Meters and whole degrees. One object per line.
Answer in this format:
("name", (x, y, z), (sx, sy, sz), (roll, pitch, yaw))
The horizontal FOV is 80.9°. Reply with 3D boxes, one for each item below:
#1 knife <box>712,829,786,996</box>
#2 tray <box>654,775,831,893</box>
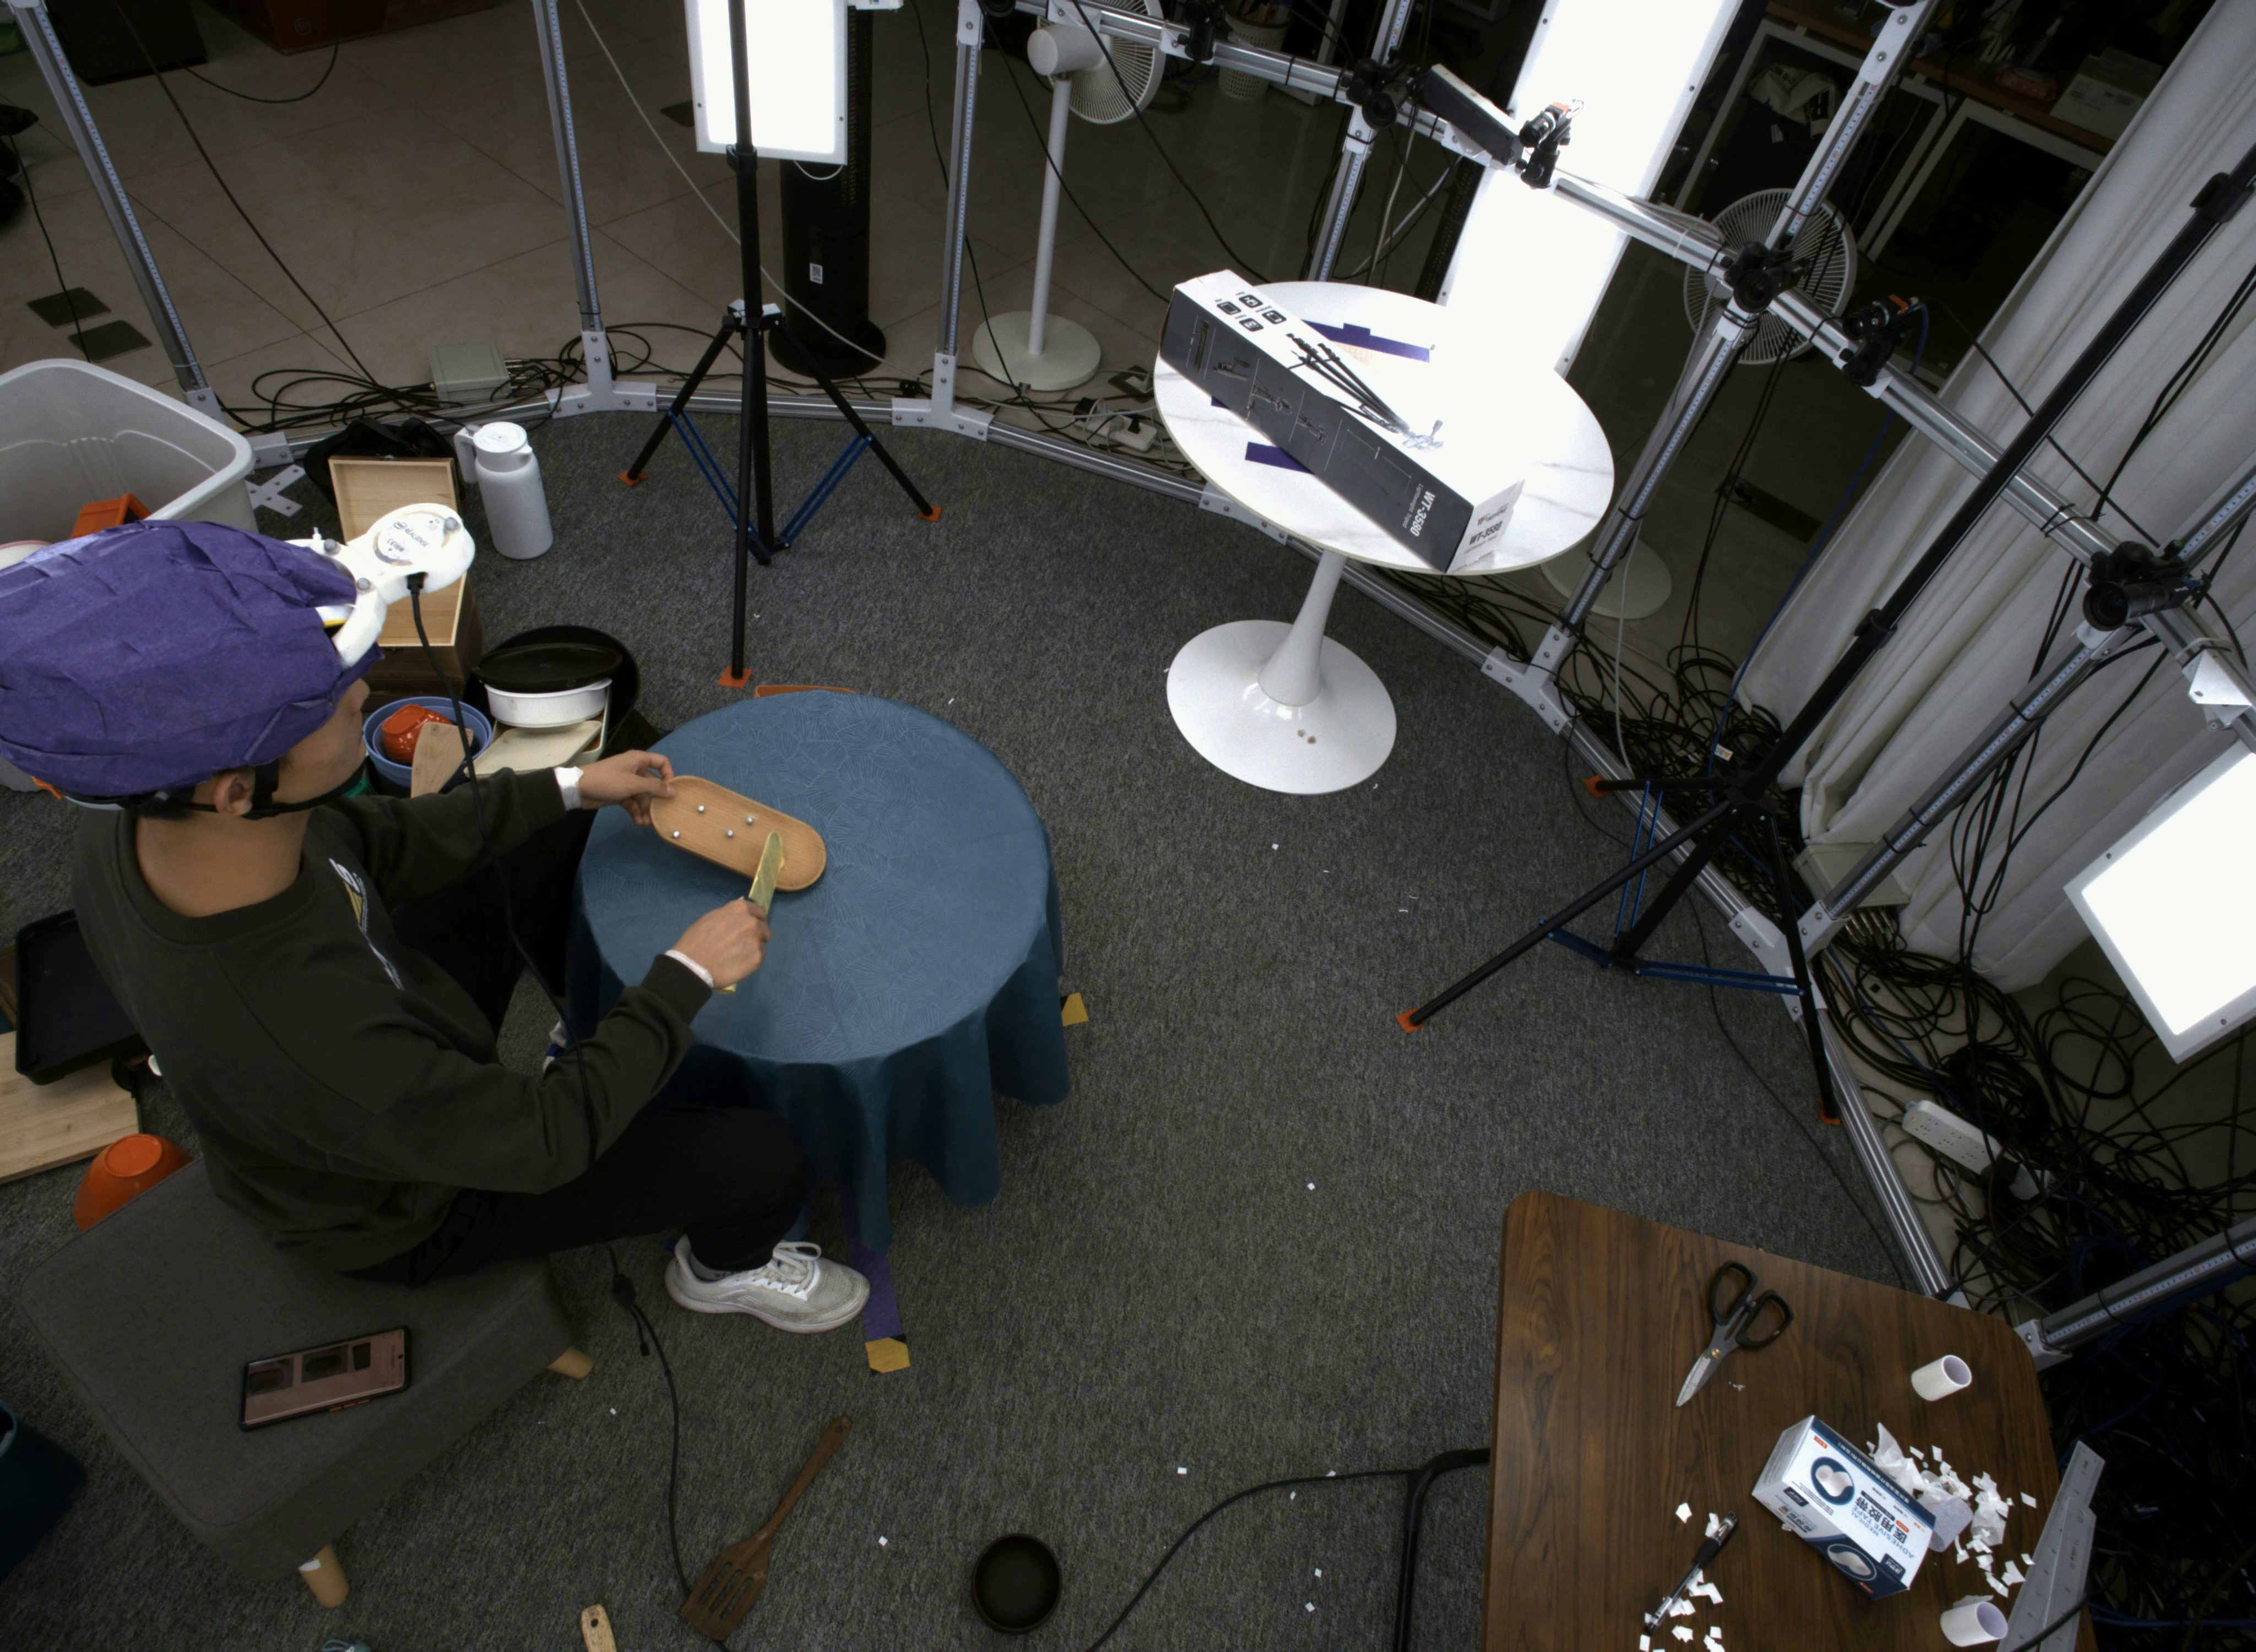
("knife", (-0.447, 0.102, 1.554), (0.027, 0.084, 0.283), (1, 39, 4))
("tray", (-0.493, 0.010, 1.655), (0.235, 0.020, 0.101), (26, 59, -21))
